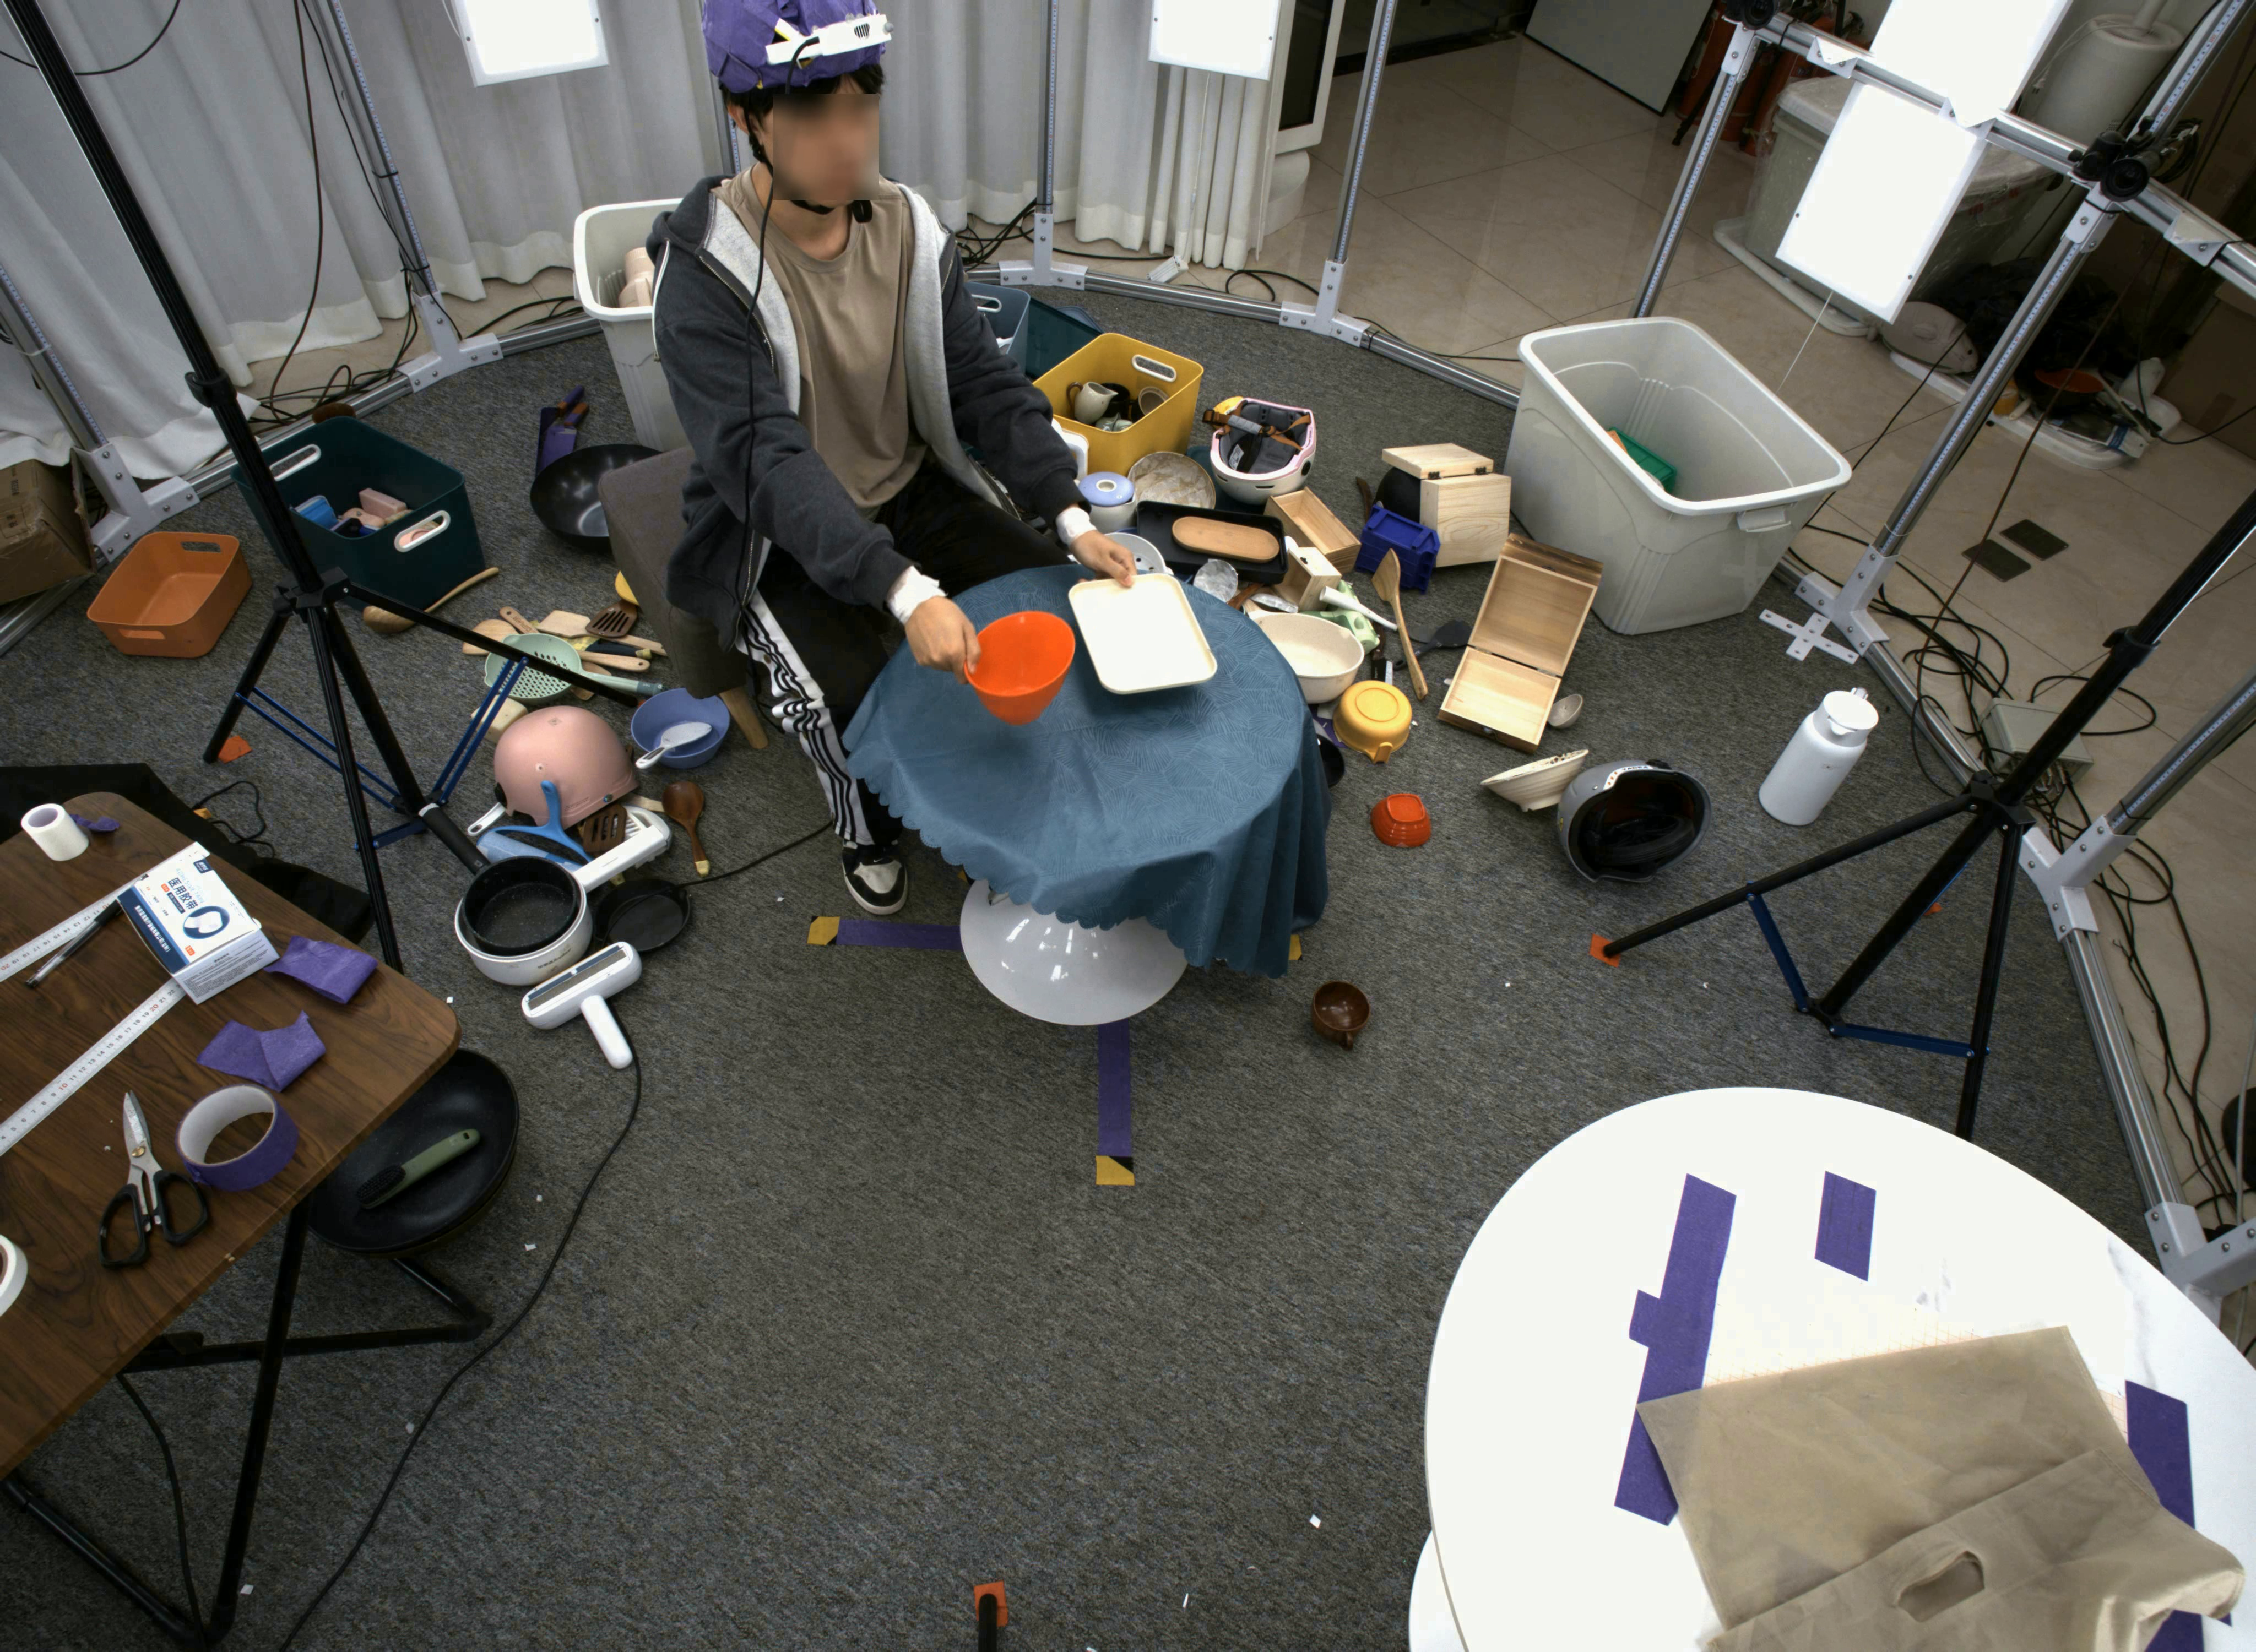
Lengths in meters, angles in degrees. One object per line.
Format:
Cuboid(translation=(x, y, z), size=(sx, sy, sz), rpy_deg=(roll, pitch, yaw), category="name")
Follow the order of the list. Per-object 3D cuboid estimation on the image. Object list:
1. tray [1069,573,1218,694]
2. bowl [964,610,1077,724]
Cuboid(translation=(0.019, -0.278, 1.846), size=(0.171, 0.017, 0.245), rpy_deg=(-10, 49, -12), category="tray")
Cuboid(translation=(-0.137, -0.199, 1.689), size=(0.148, 0.102, 0.152), rpy_deg=(-1, 48, 1), category="bowl")
